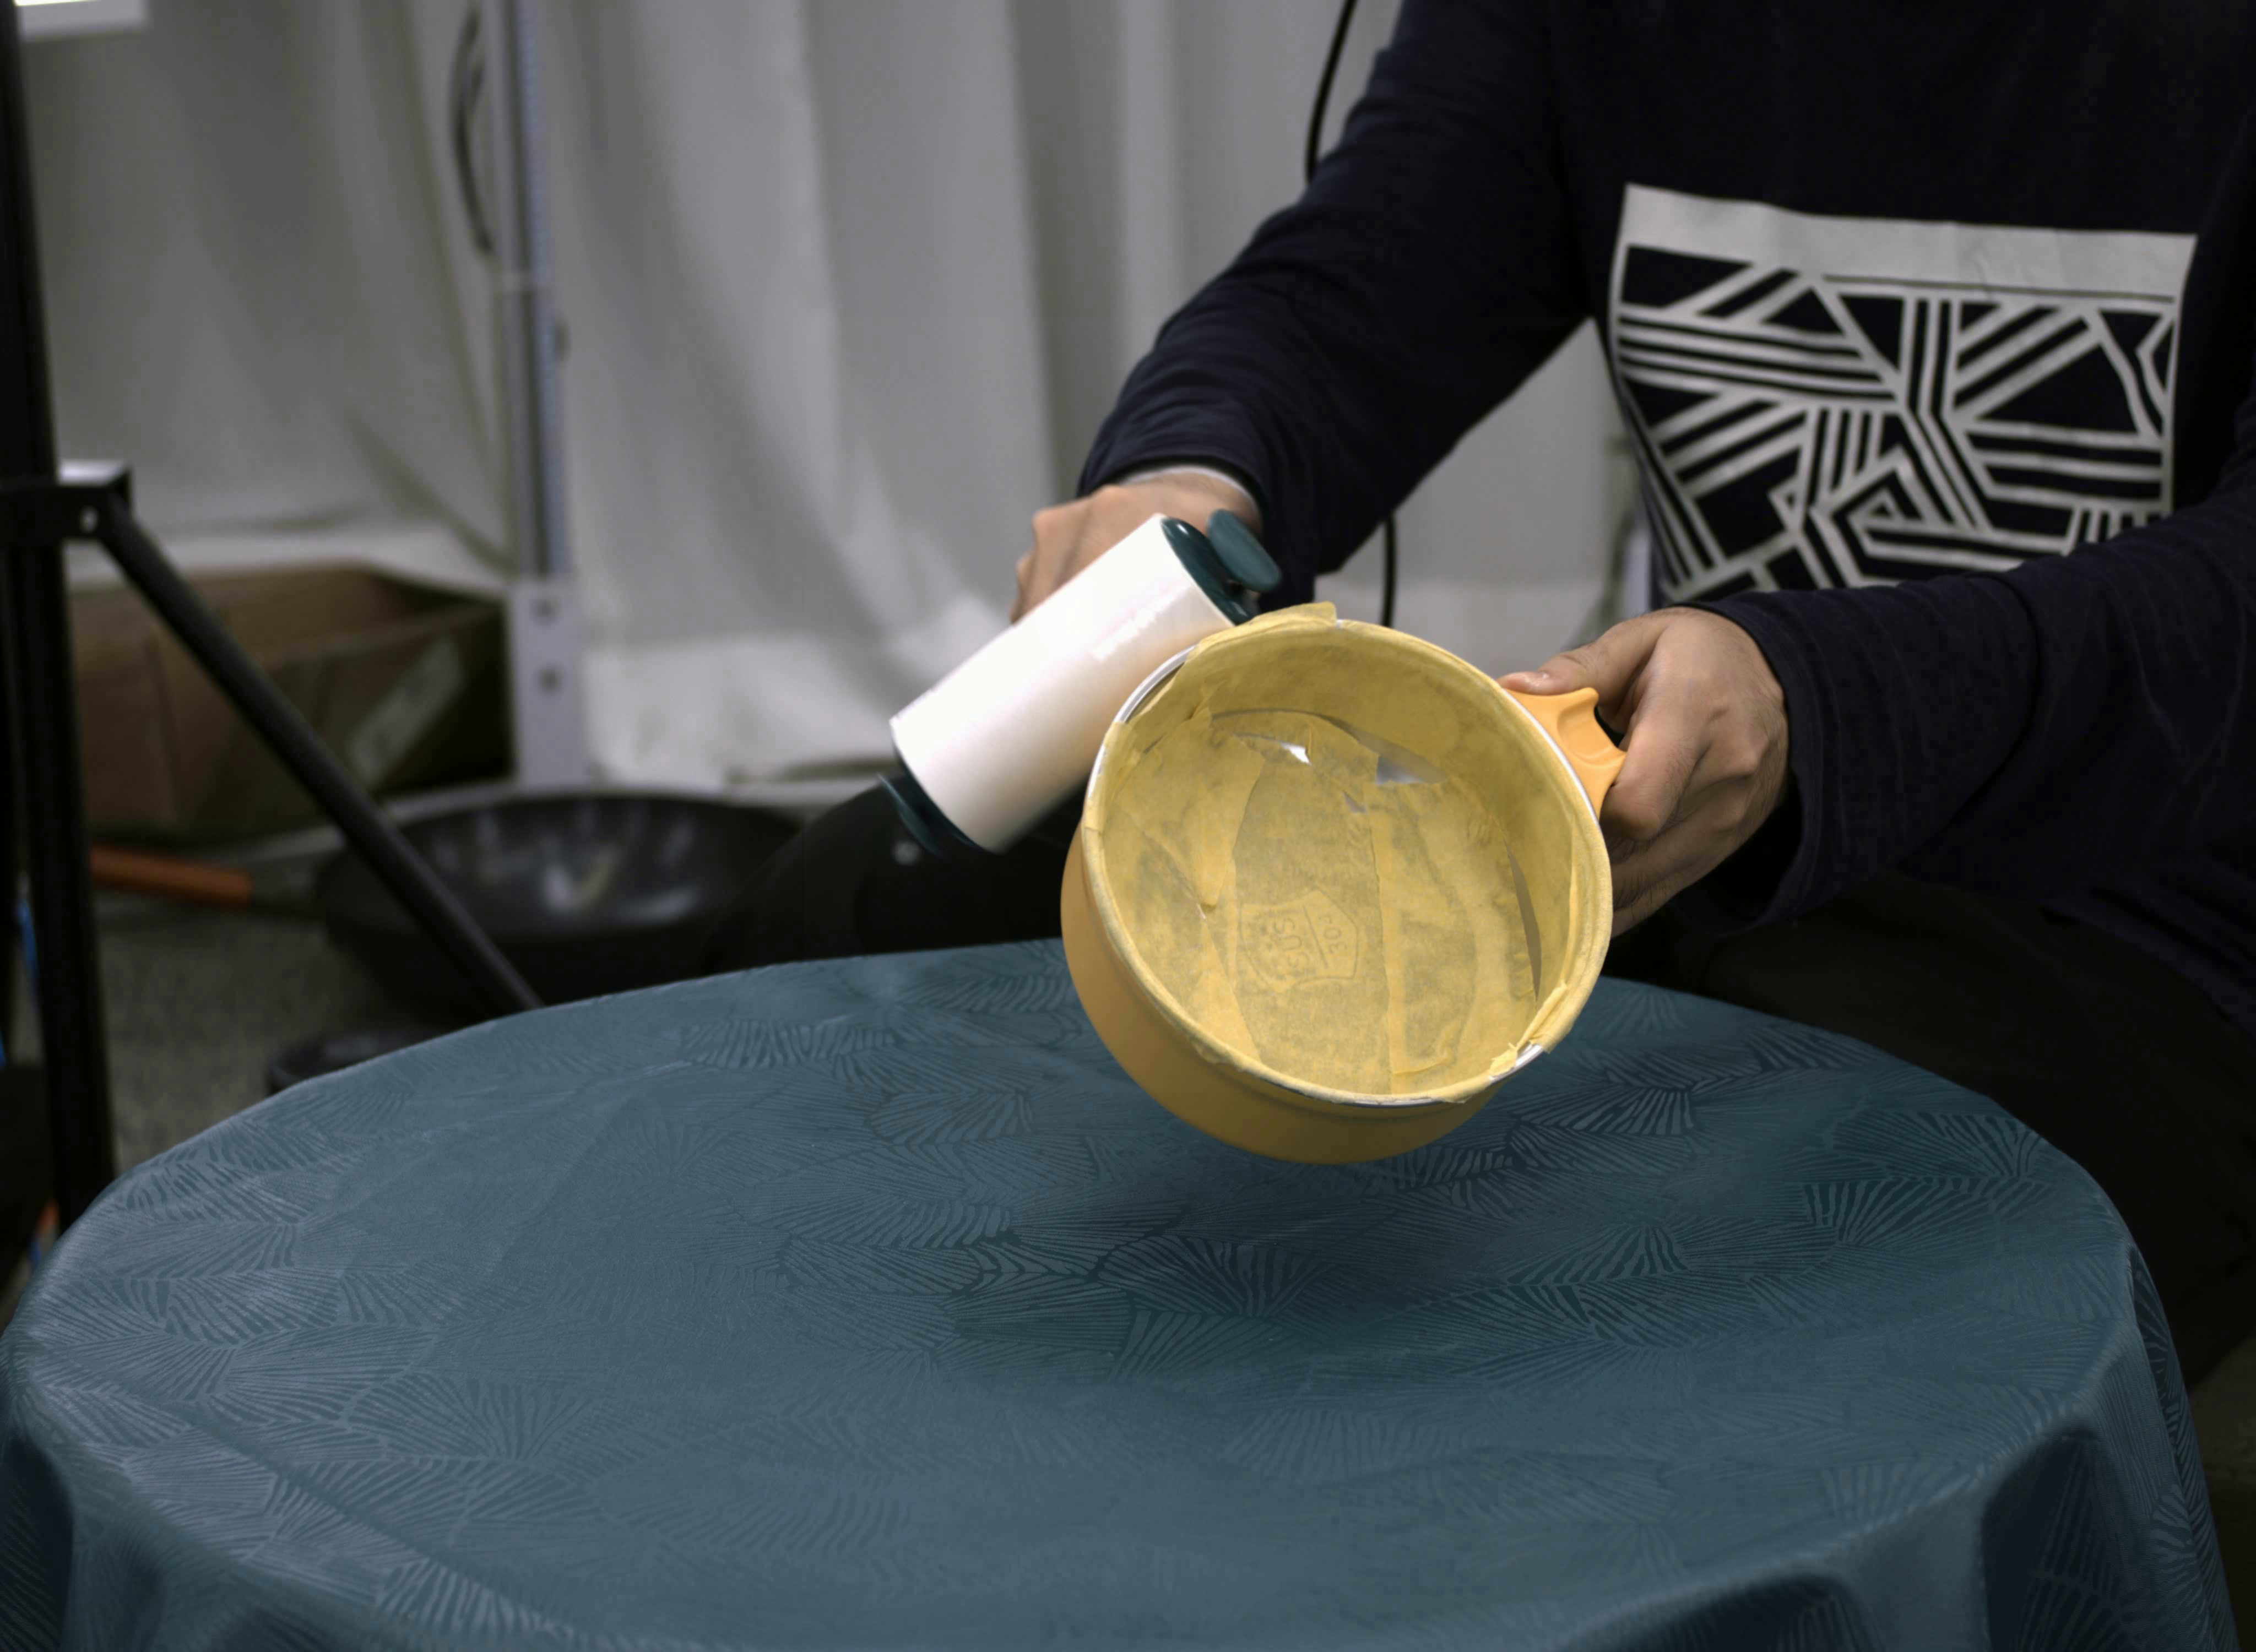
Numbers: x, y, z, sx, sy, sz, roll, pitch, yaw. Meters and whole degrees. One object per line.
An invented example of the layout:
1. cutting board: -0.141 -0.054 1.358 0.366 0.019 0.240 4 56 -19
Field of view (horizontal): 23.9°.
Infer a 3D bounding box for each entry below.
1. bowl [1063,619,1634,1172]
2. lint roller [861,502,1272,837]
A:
1. bowl: 0.066 0.020 1.500 0.176 0.074 0.155 -33 73 -28
2. lint roller: -0.010 -0.057 1.590 0.135 0.048 0.179 -36 5 13
